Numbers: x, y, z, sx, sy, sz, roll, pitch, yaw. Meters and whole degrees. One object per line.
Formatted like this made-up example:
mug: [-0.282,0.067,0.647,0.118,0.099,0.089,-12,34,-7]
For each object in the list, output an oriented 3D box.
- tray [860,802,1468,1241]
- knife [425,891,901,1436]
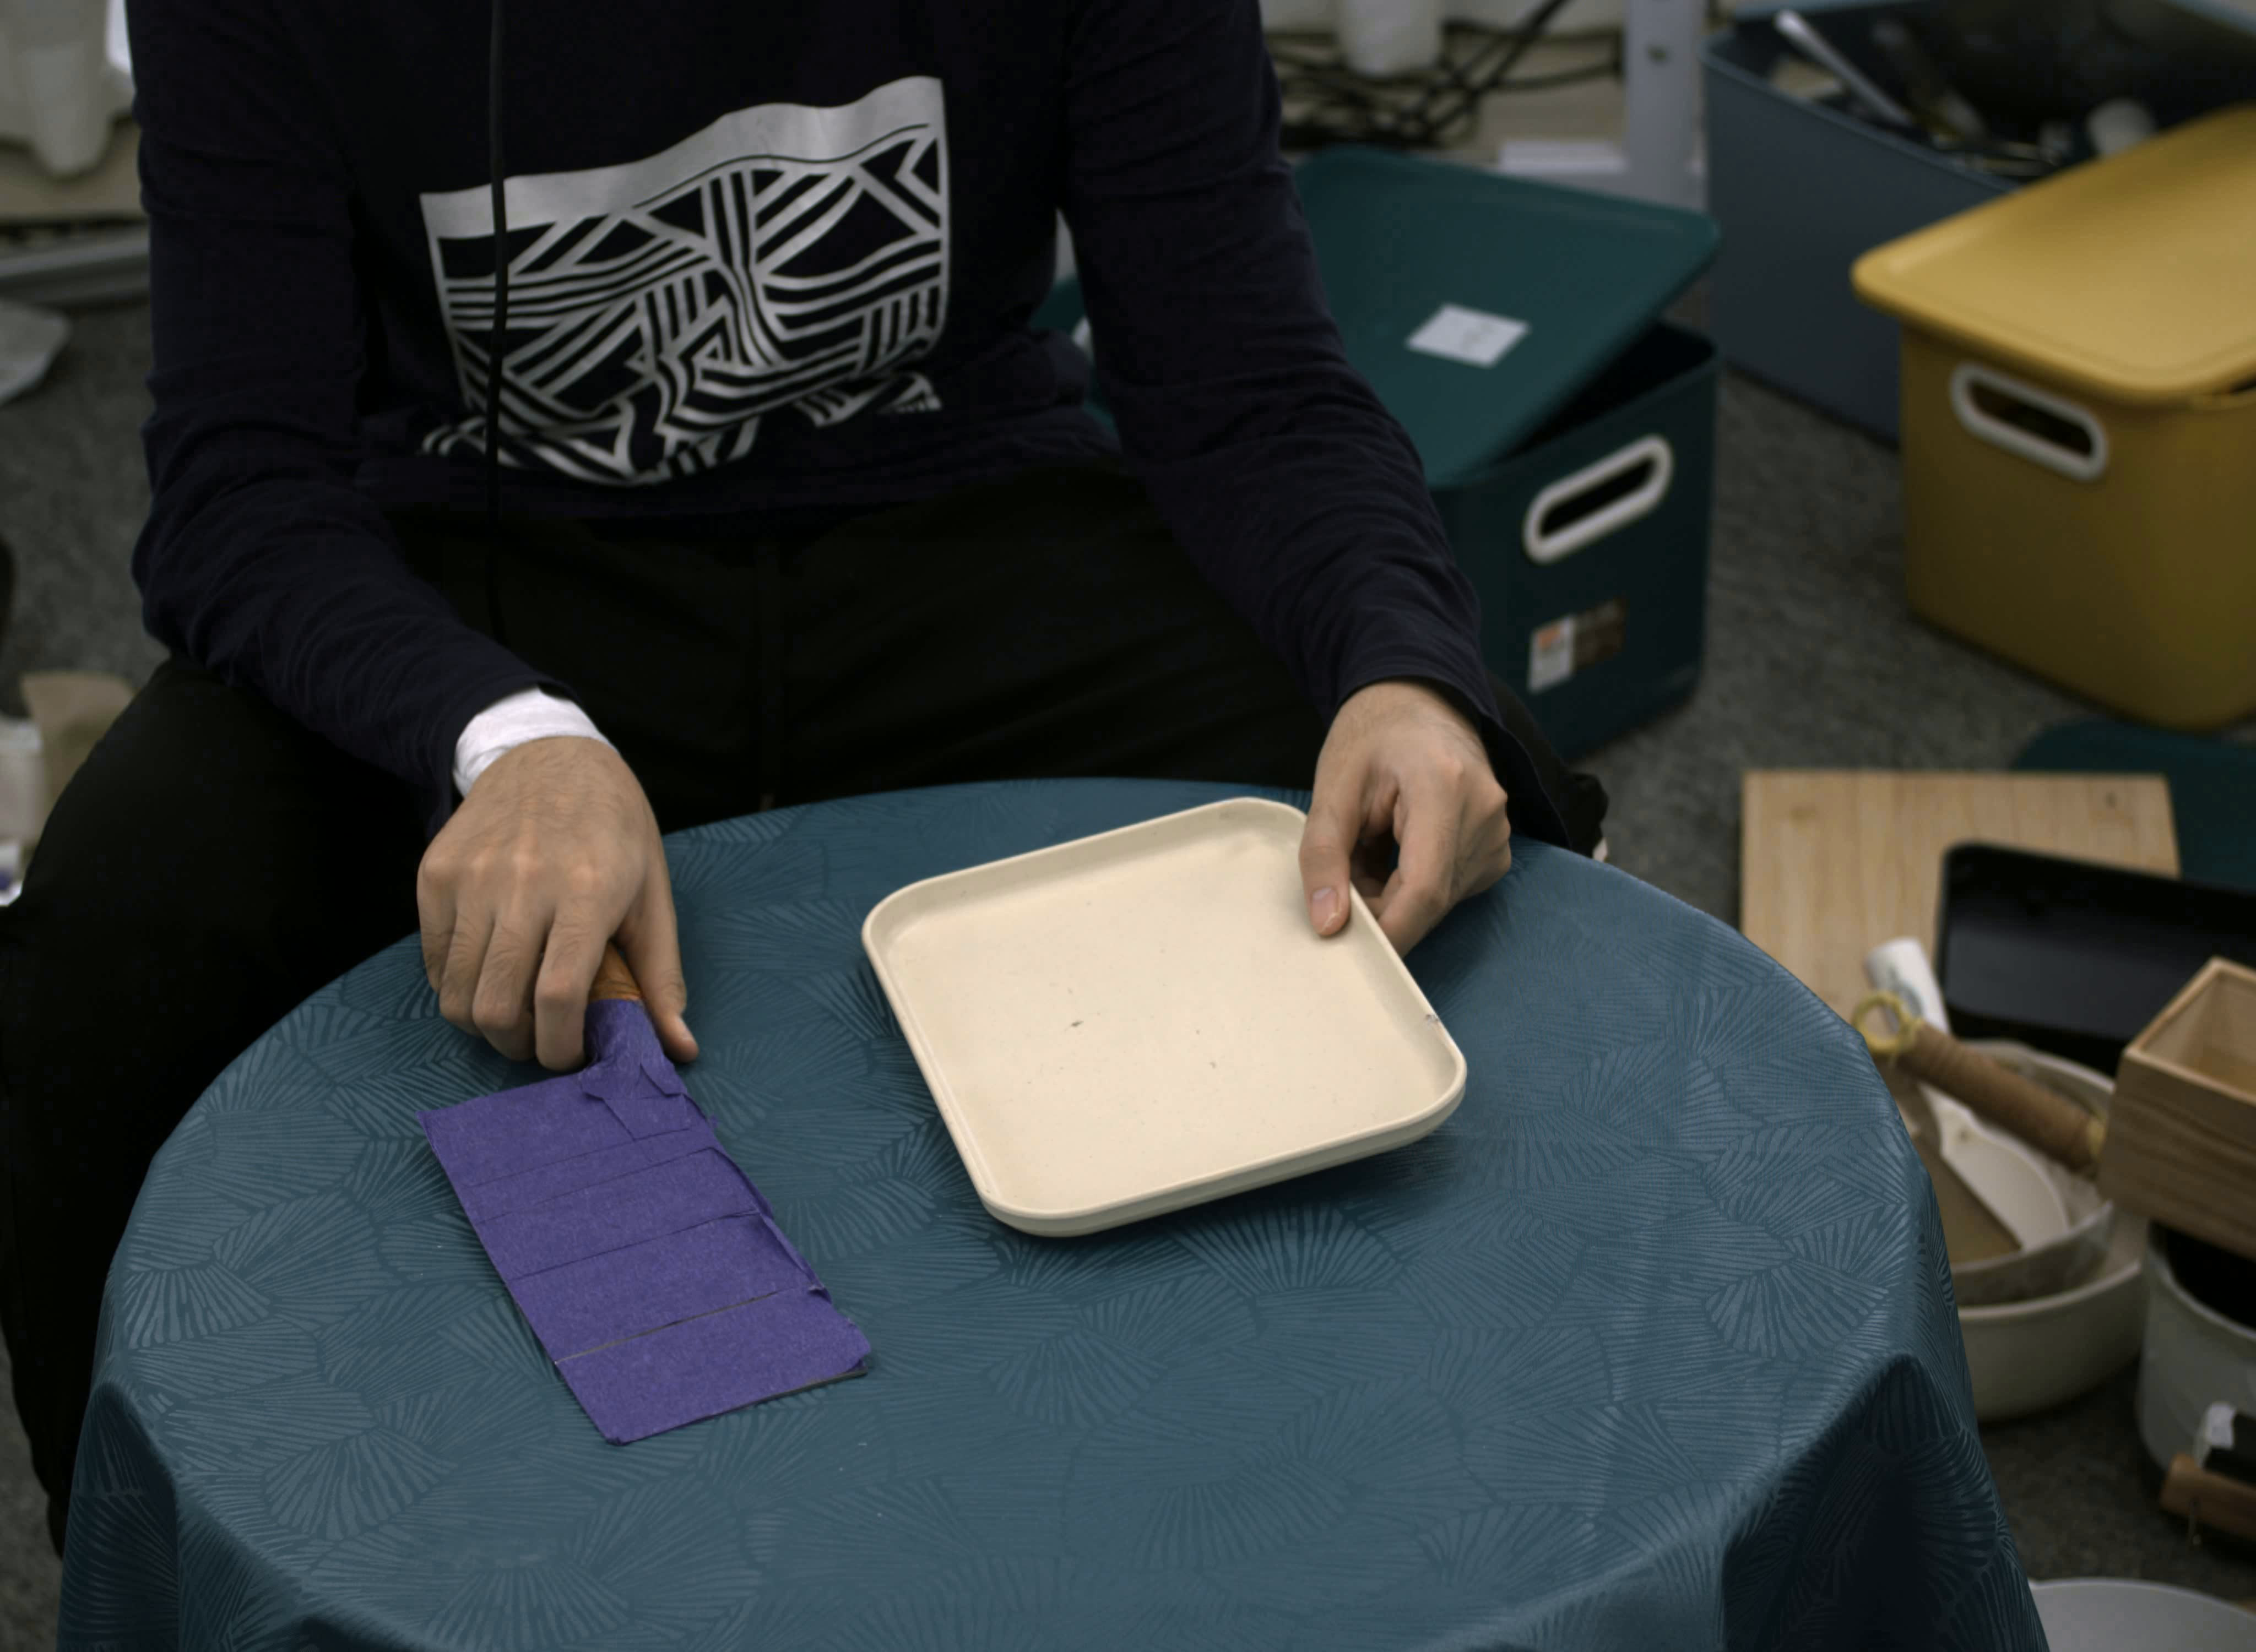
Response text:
tray: [0.009,0.066,1.934,0.171,0.017,0.242,-15,29,-9]
knife: [-0.179,0.108,1.875,0.104,0.032,0.317,-13,30,-20]
